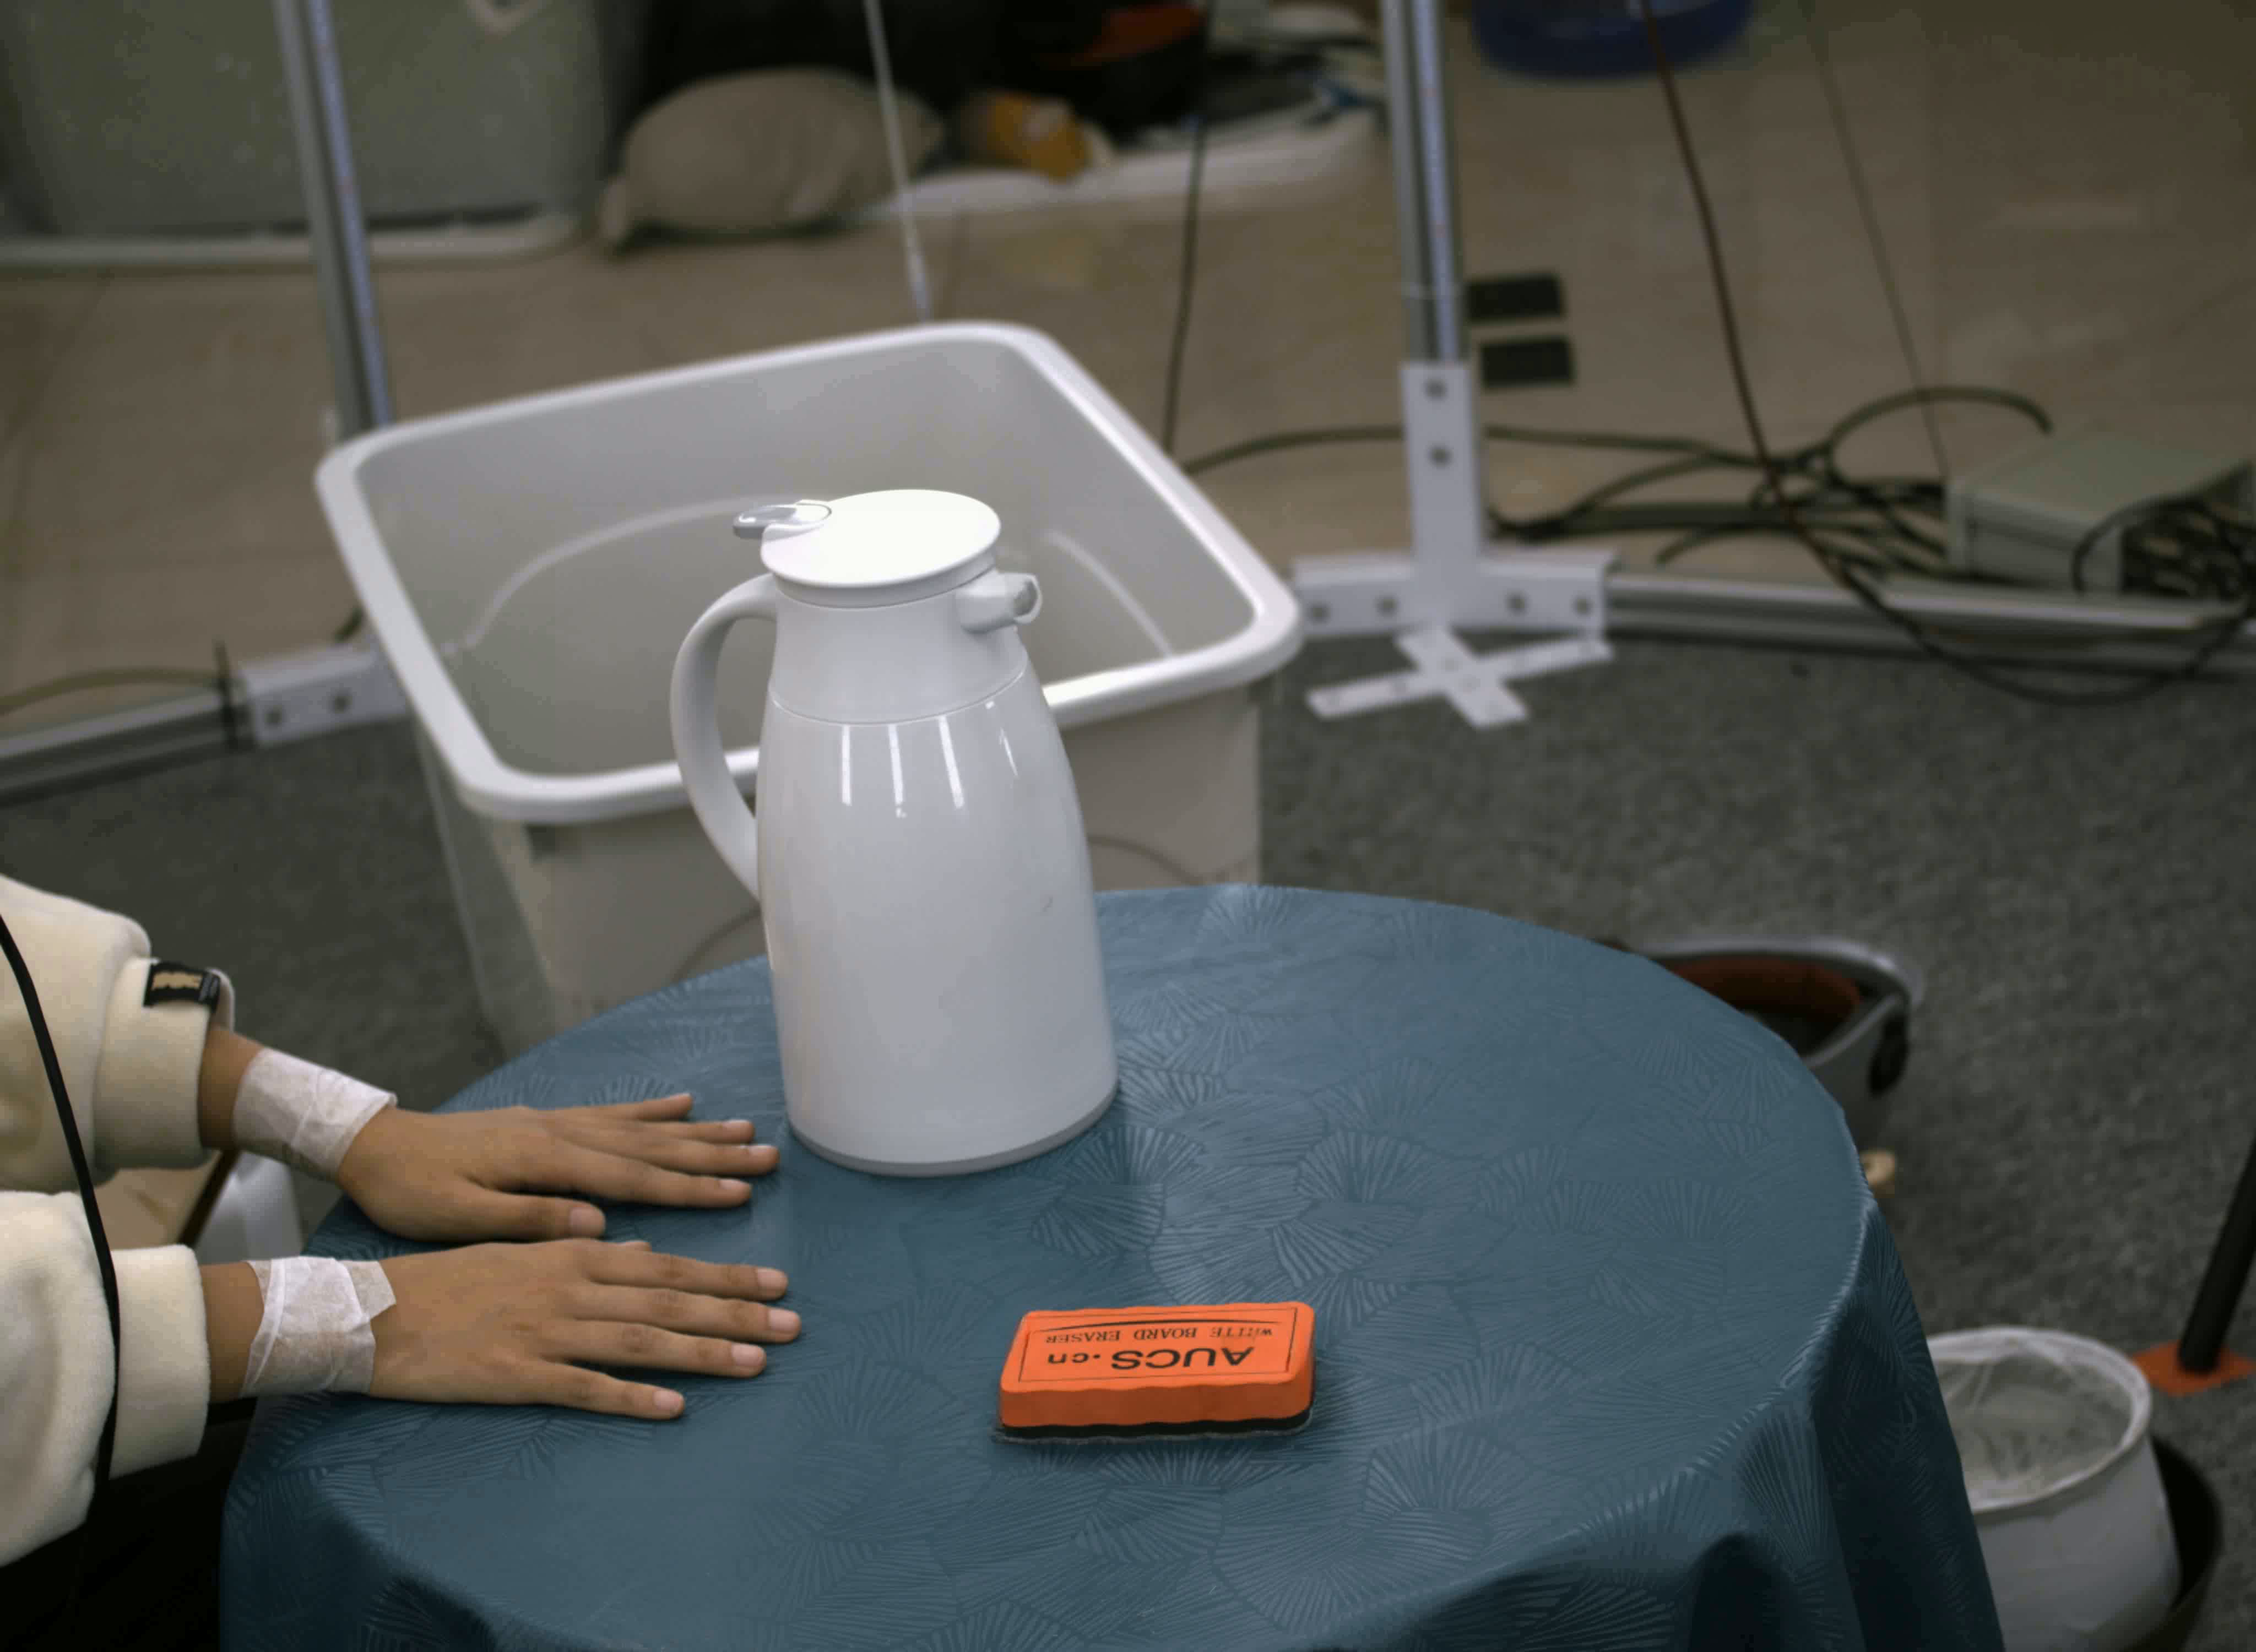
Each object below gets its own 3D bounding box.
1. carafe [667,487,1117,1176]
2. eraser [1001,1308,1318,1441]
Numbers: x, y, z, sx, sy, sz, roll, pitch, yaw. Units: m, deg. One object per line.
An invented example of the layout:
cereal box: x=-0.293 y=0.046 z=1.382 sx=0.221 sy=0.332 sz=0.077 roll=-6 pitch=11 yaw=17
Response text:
carafe: x=-0.099 y=-0.006 z=2.185 sx=0.167 sy=0.252 sz=0.131 roll=7 pitch=29 yaw=27
eraser: x=0.012 y=0.193 z=2.002 sx=0.108 sy=0.023 sz=0.058 roll=-2 pitch=23 yaw=9
